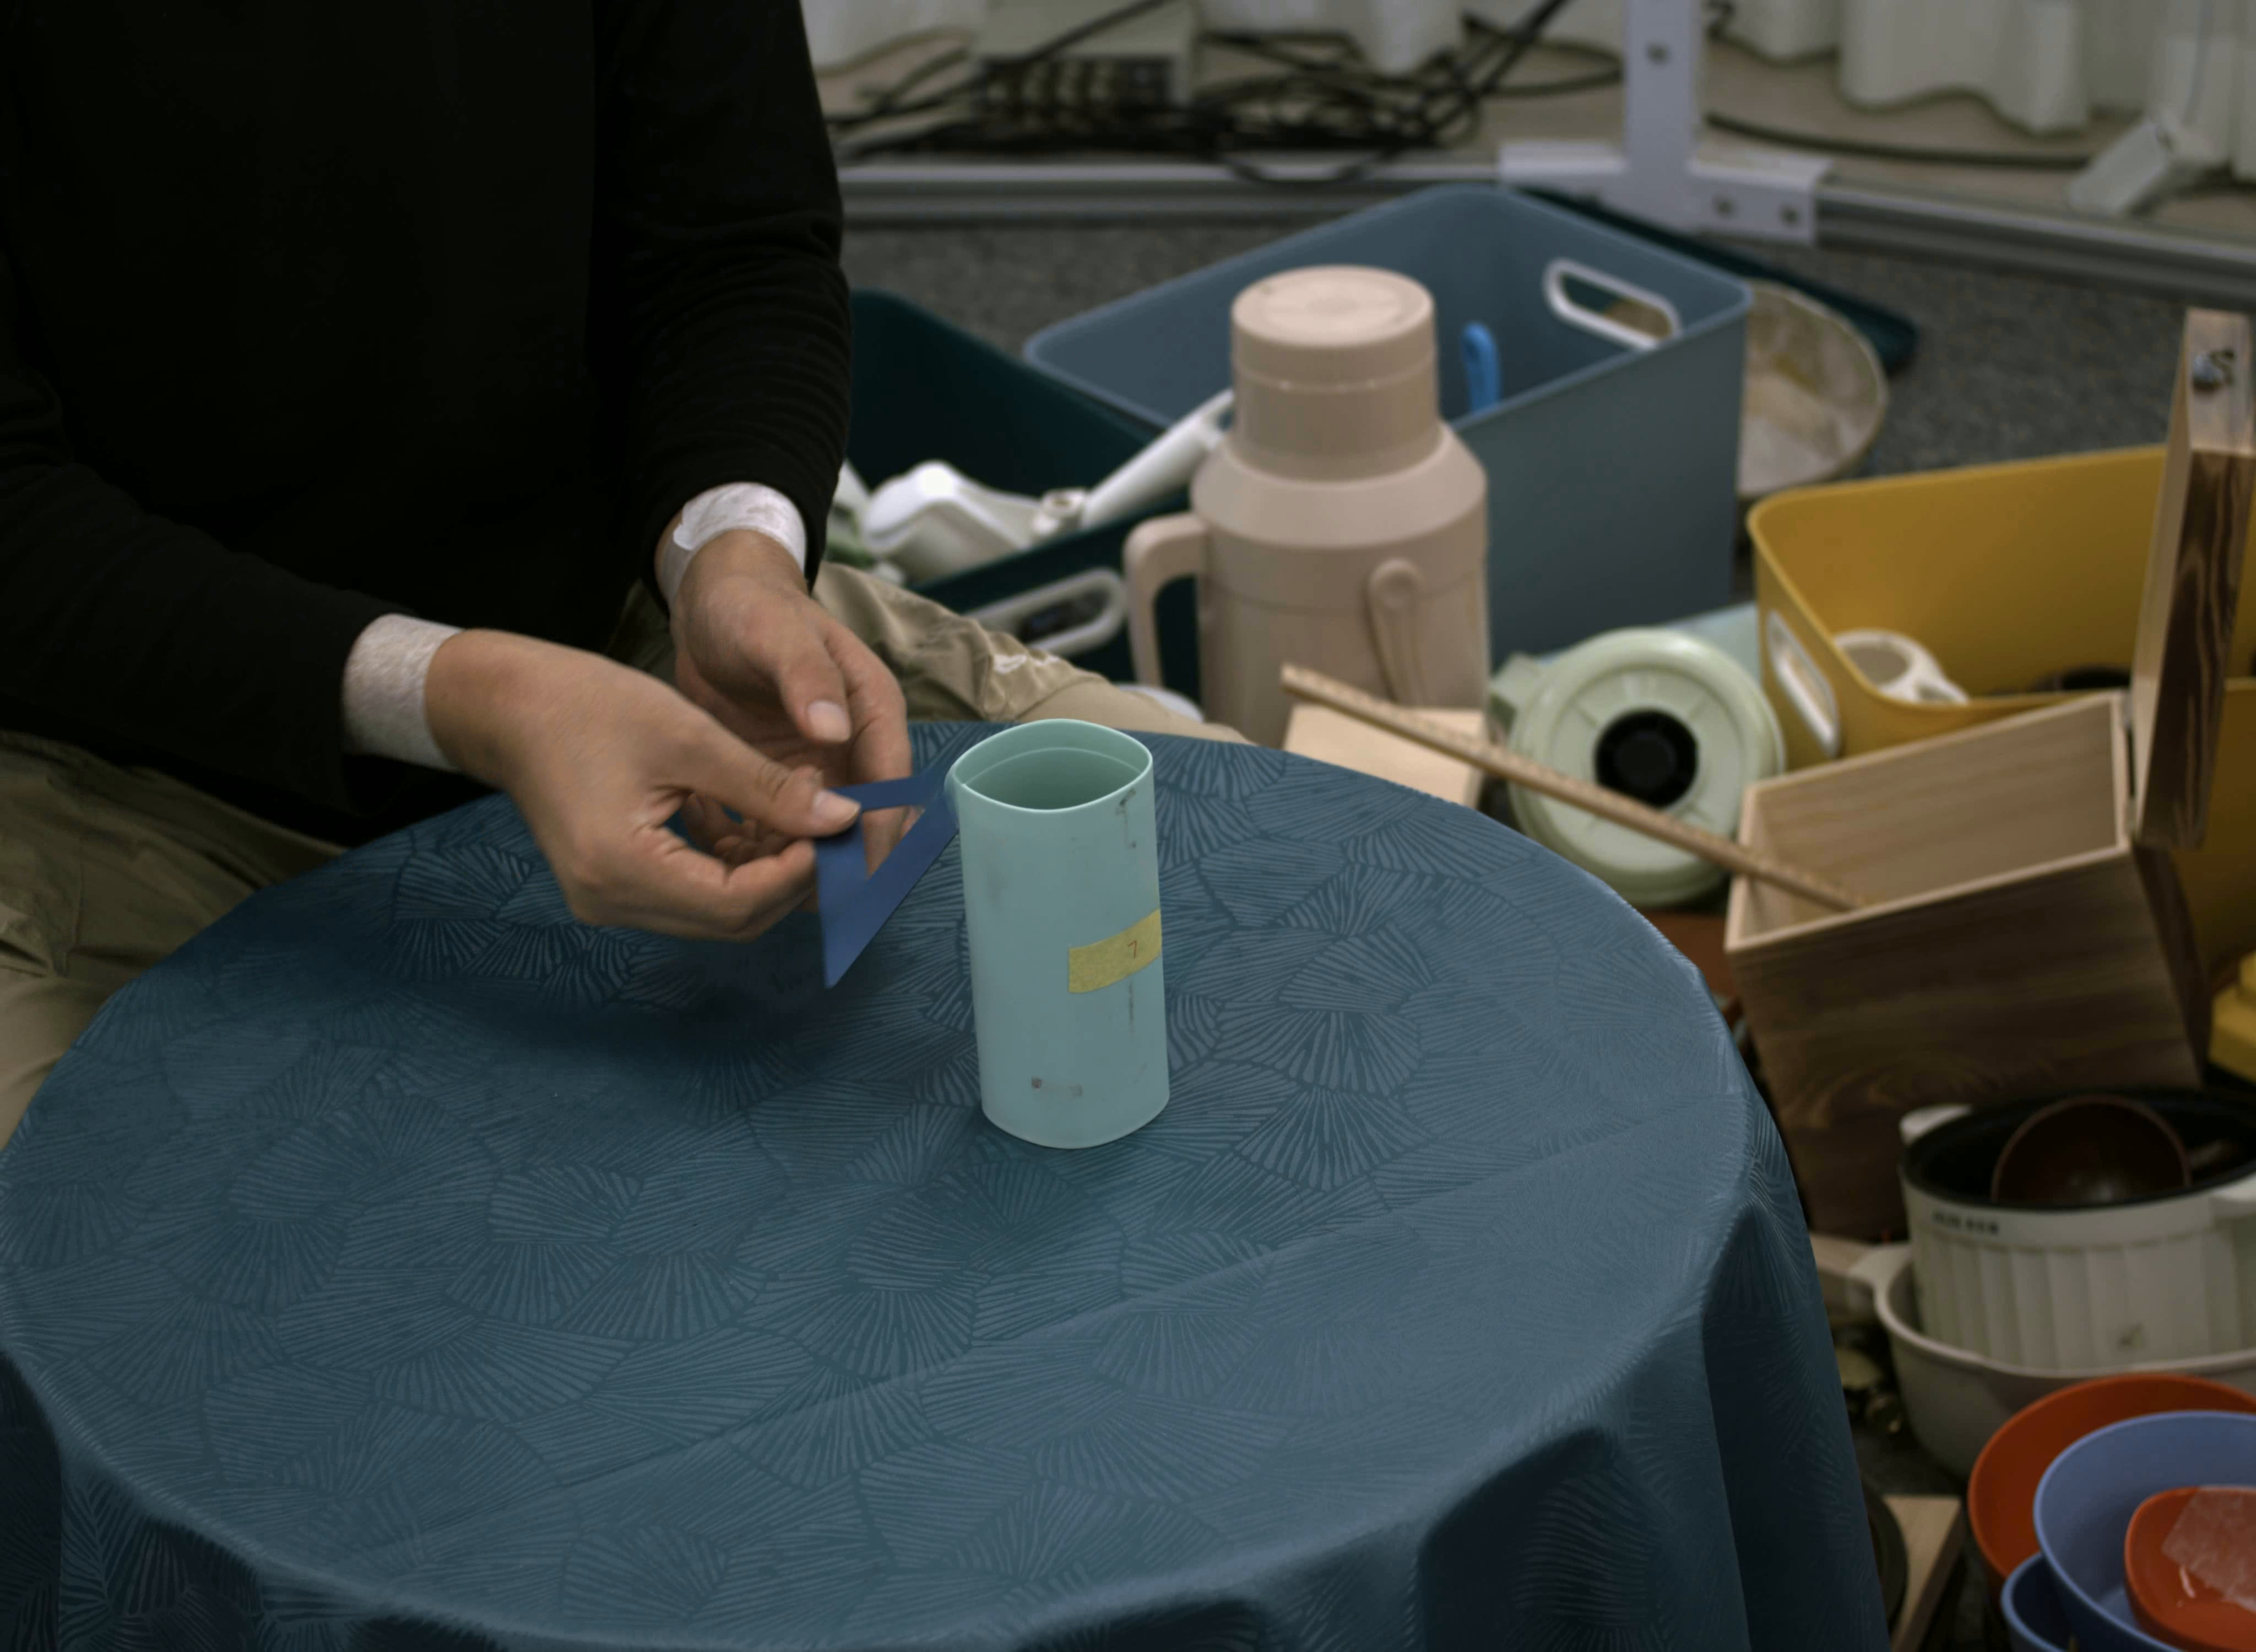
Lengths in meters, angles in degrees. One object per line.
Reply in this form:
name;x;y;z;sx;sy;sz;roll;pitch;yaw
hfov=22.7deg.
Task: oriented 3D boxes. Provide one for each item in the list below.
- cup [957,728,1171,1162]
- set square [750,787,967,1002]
cup;-0.022;0.040;1.889;0.066;0.131;0.068;-2;27;2
set square;-0.108;0.017;1.906;0.061;0.006;0.134;14;38;25
